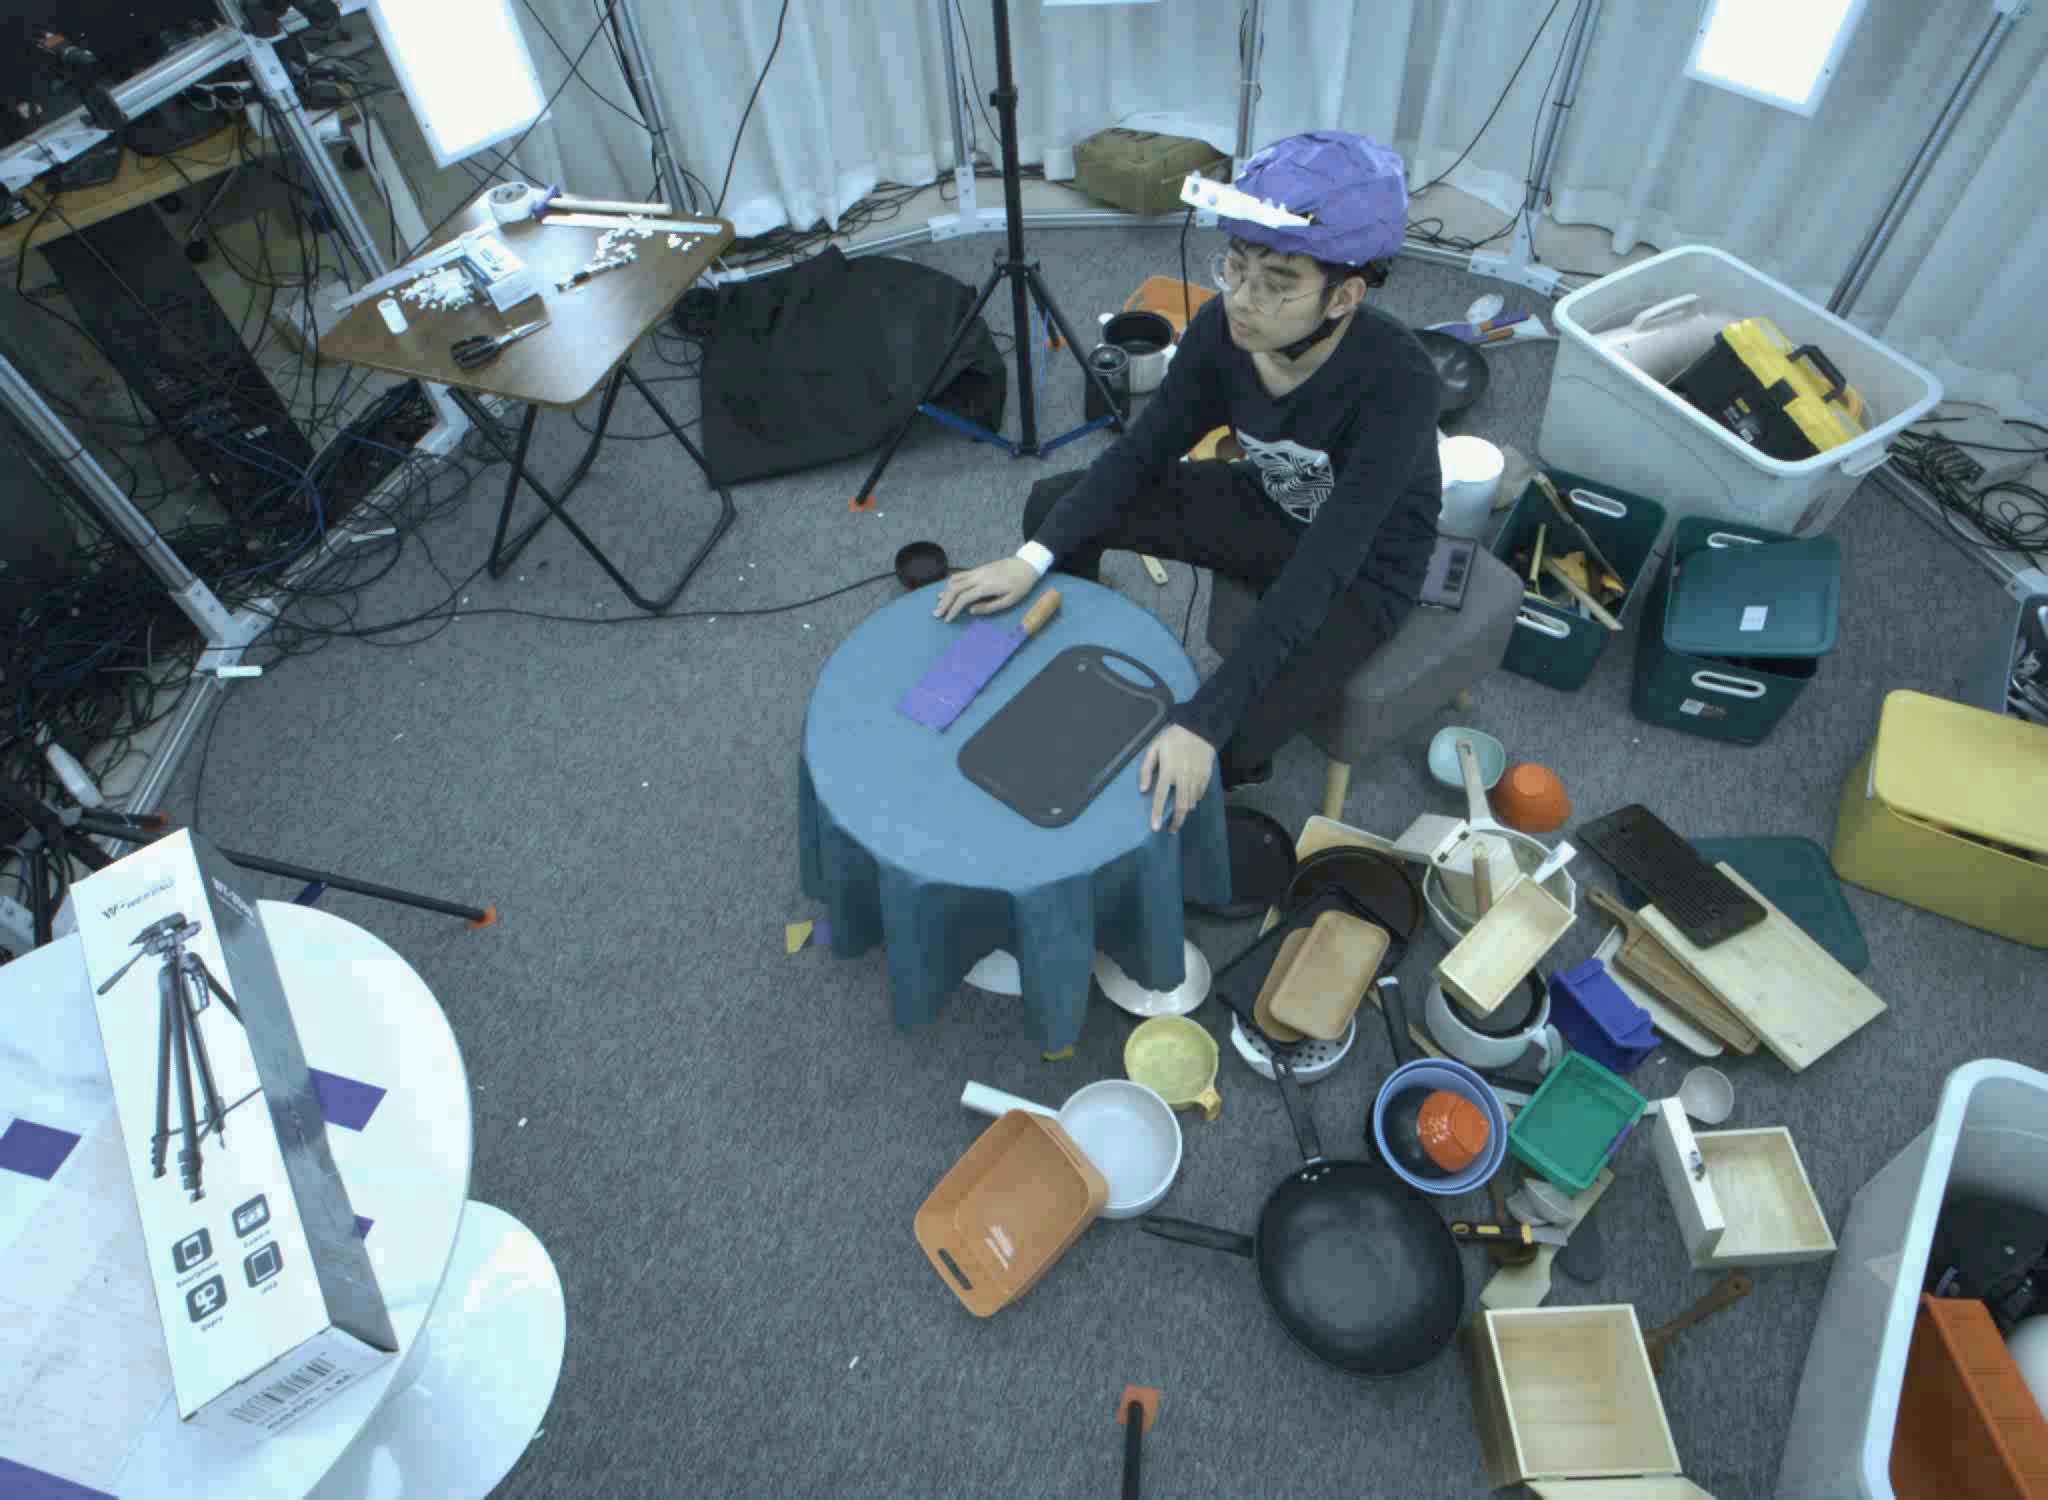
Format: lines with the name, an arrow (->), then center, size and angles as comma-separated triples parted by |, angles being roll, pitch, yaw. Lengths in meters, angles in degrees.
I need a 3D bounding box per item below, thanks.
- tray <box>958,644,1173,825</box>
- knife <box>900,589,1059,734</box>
tray -> 0.067, -0.036, 1.815 | 0.207, 0.010, 0.327 | 34, 62, 23
knife -> -0.069, -0.153, 1.890 | 0.102, 0.032, 0.316 | 29, 61, 20
